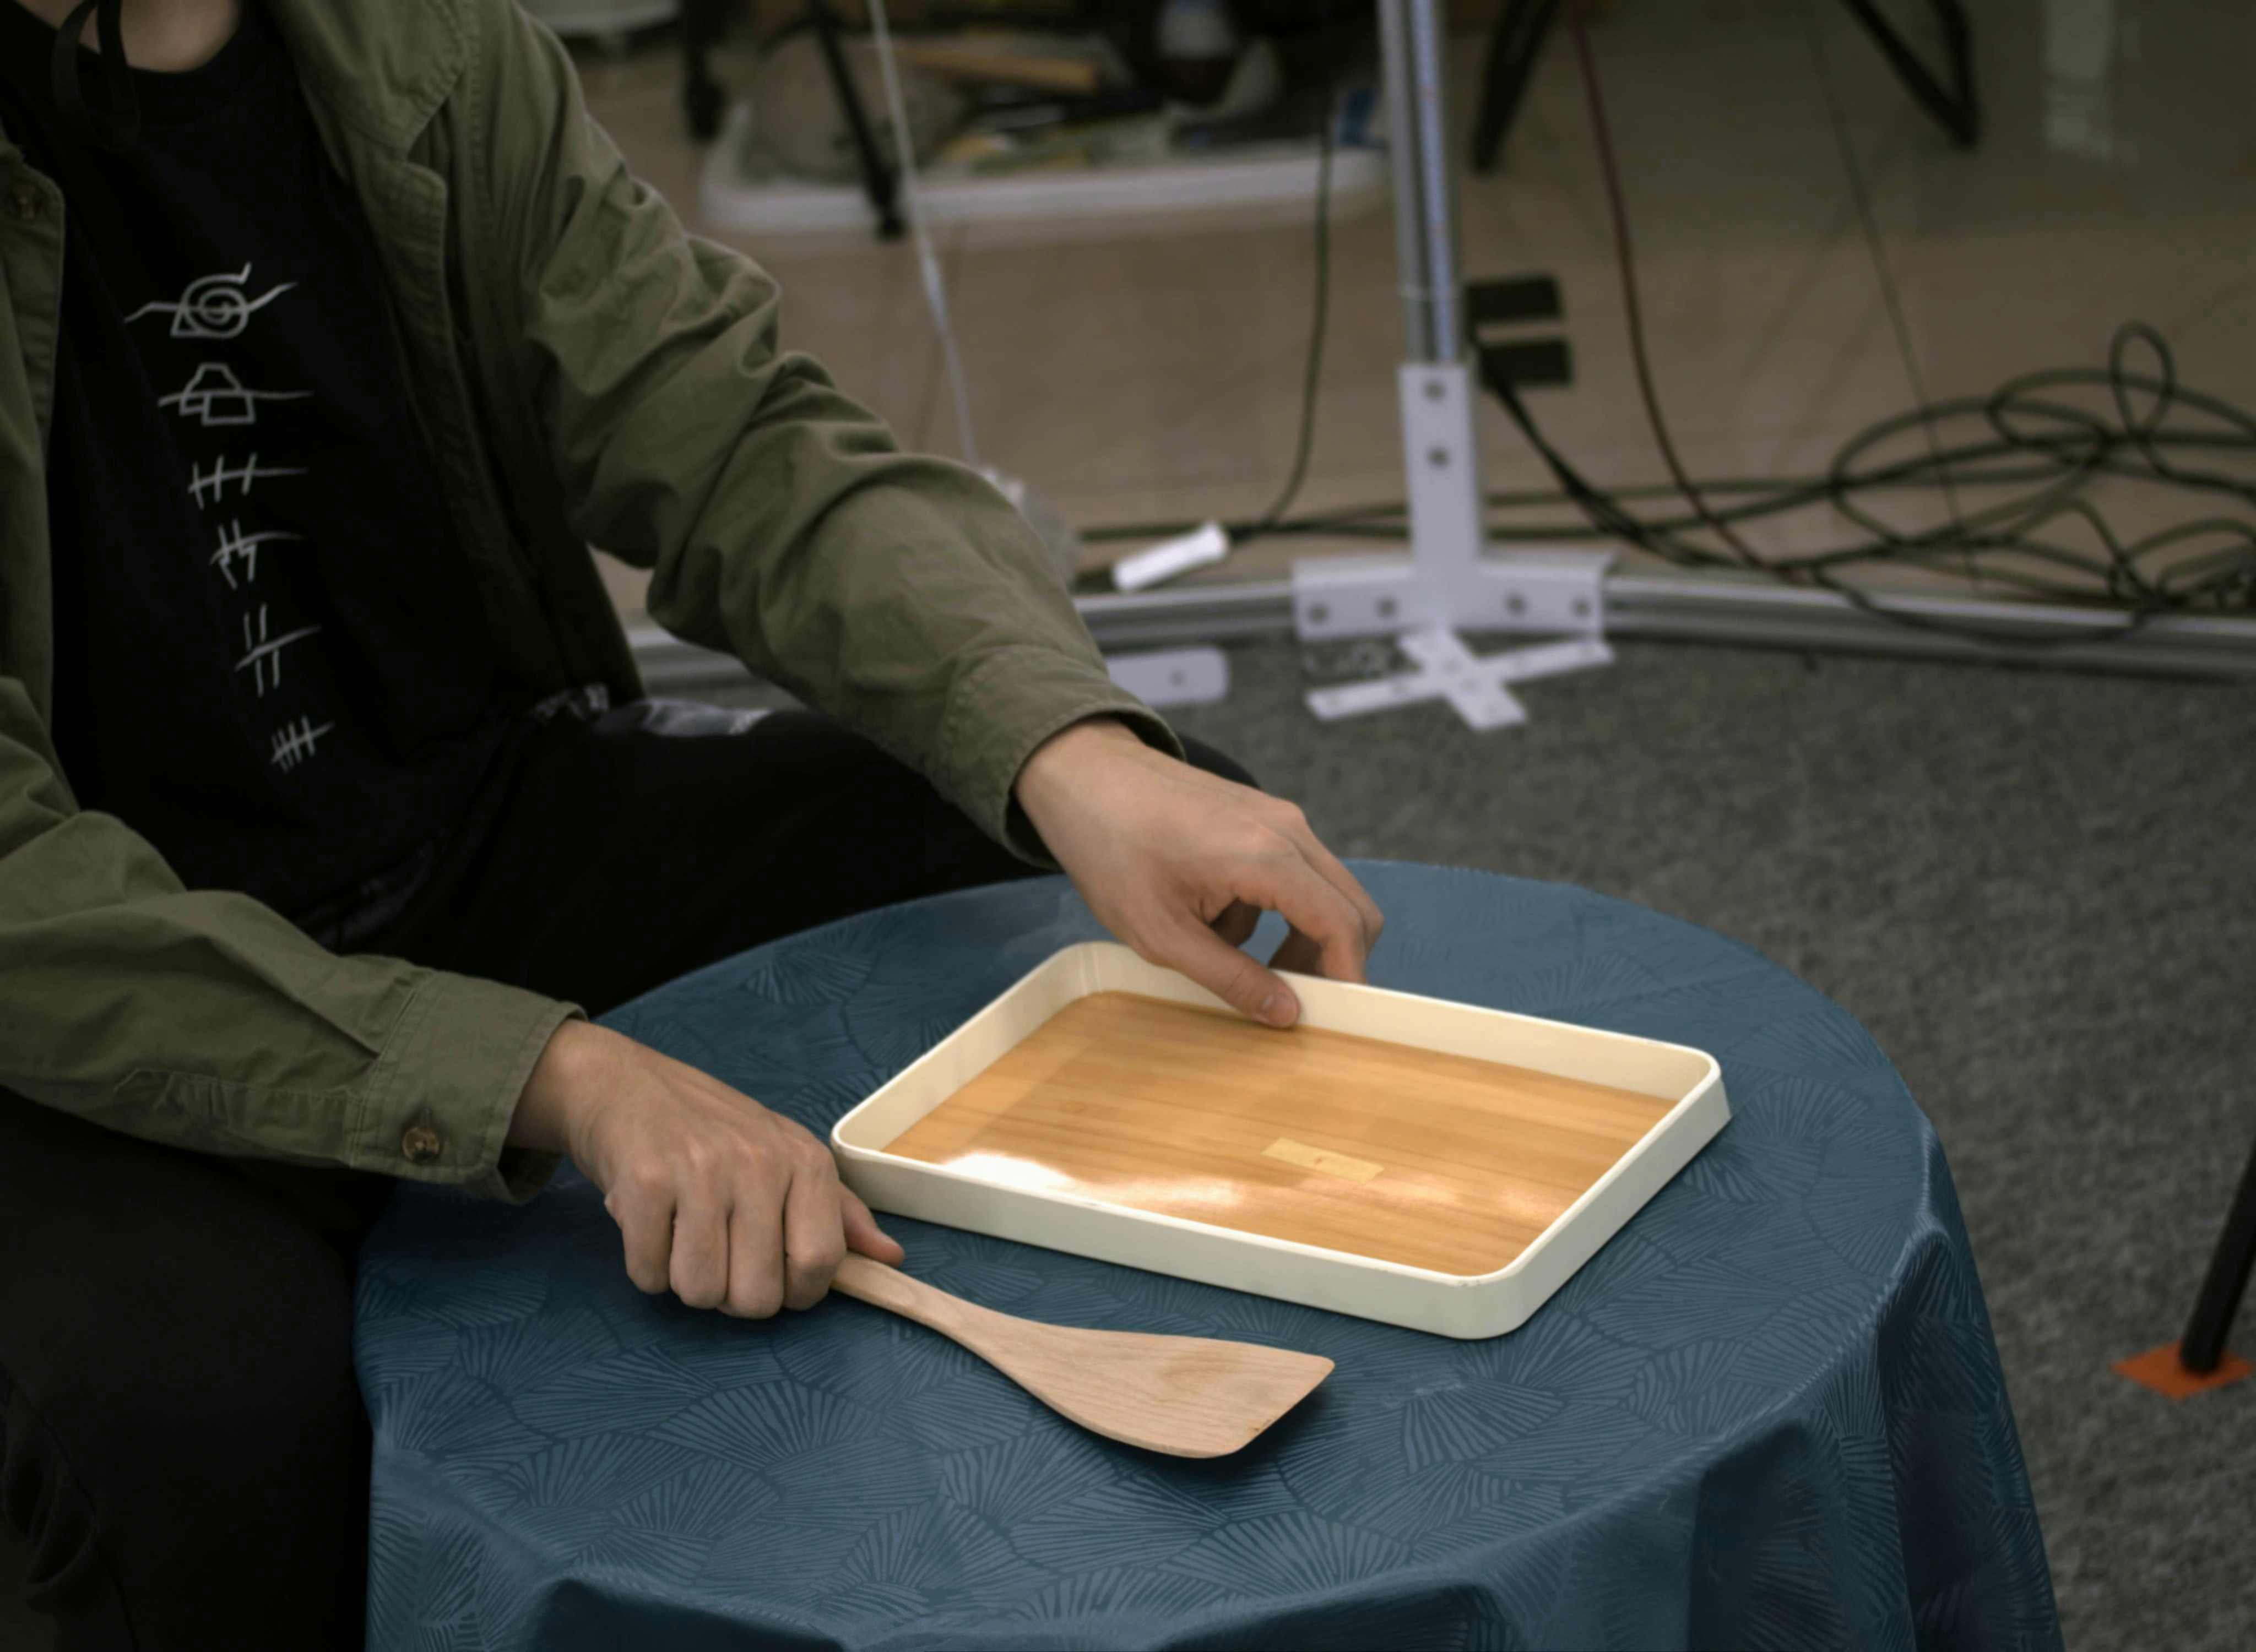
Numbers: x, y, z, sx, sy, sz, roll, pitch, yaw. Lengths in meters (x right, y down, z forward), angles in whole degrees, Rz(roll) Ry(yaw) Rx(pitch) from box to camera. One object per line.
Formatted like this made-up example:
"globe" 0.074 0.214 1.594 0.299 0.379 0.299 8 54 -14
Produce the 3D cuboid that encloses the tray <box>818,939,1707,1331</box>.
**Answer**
"tray" 0.050 0.113 2.159 0.299 0.028 0.189 9 30 33

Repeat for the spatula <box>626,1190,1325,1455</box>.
"spatula" -0.066 0.174 2.074 0.325 0.017 0.079 16 31 38
